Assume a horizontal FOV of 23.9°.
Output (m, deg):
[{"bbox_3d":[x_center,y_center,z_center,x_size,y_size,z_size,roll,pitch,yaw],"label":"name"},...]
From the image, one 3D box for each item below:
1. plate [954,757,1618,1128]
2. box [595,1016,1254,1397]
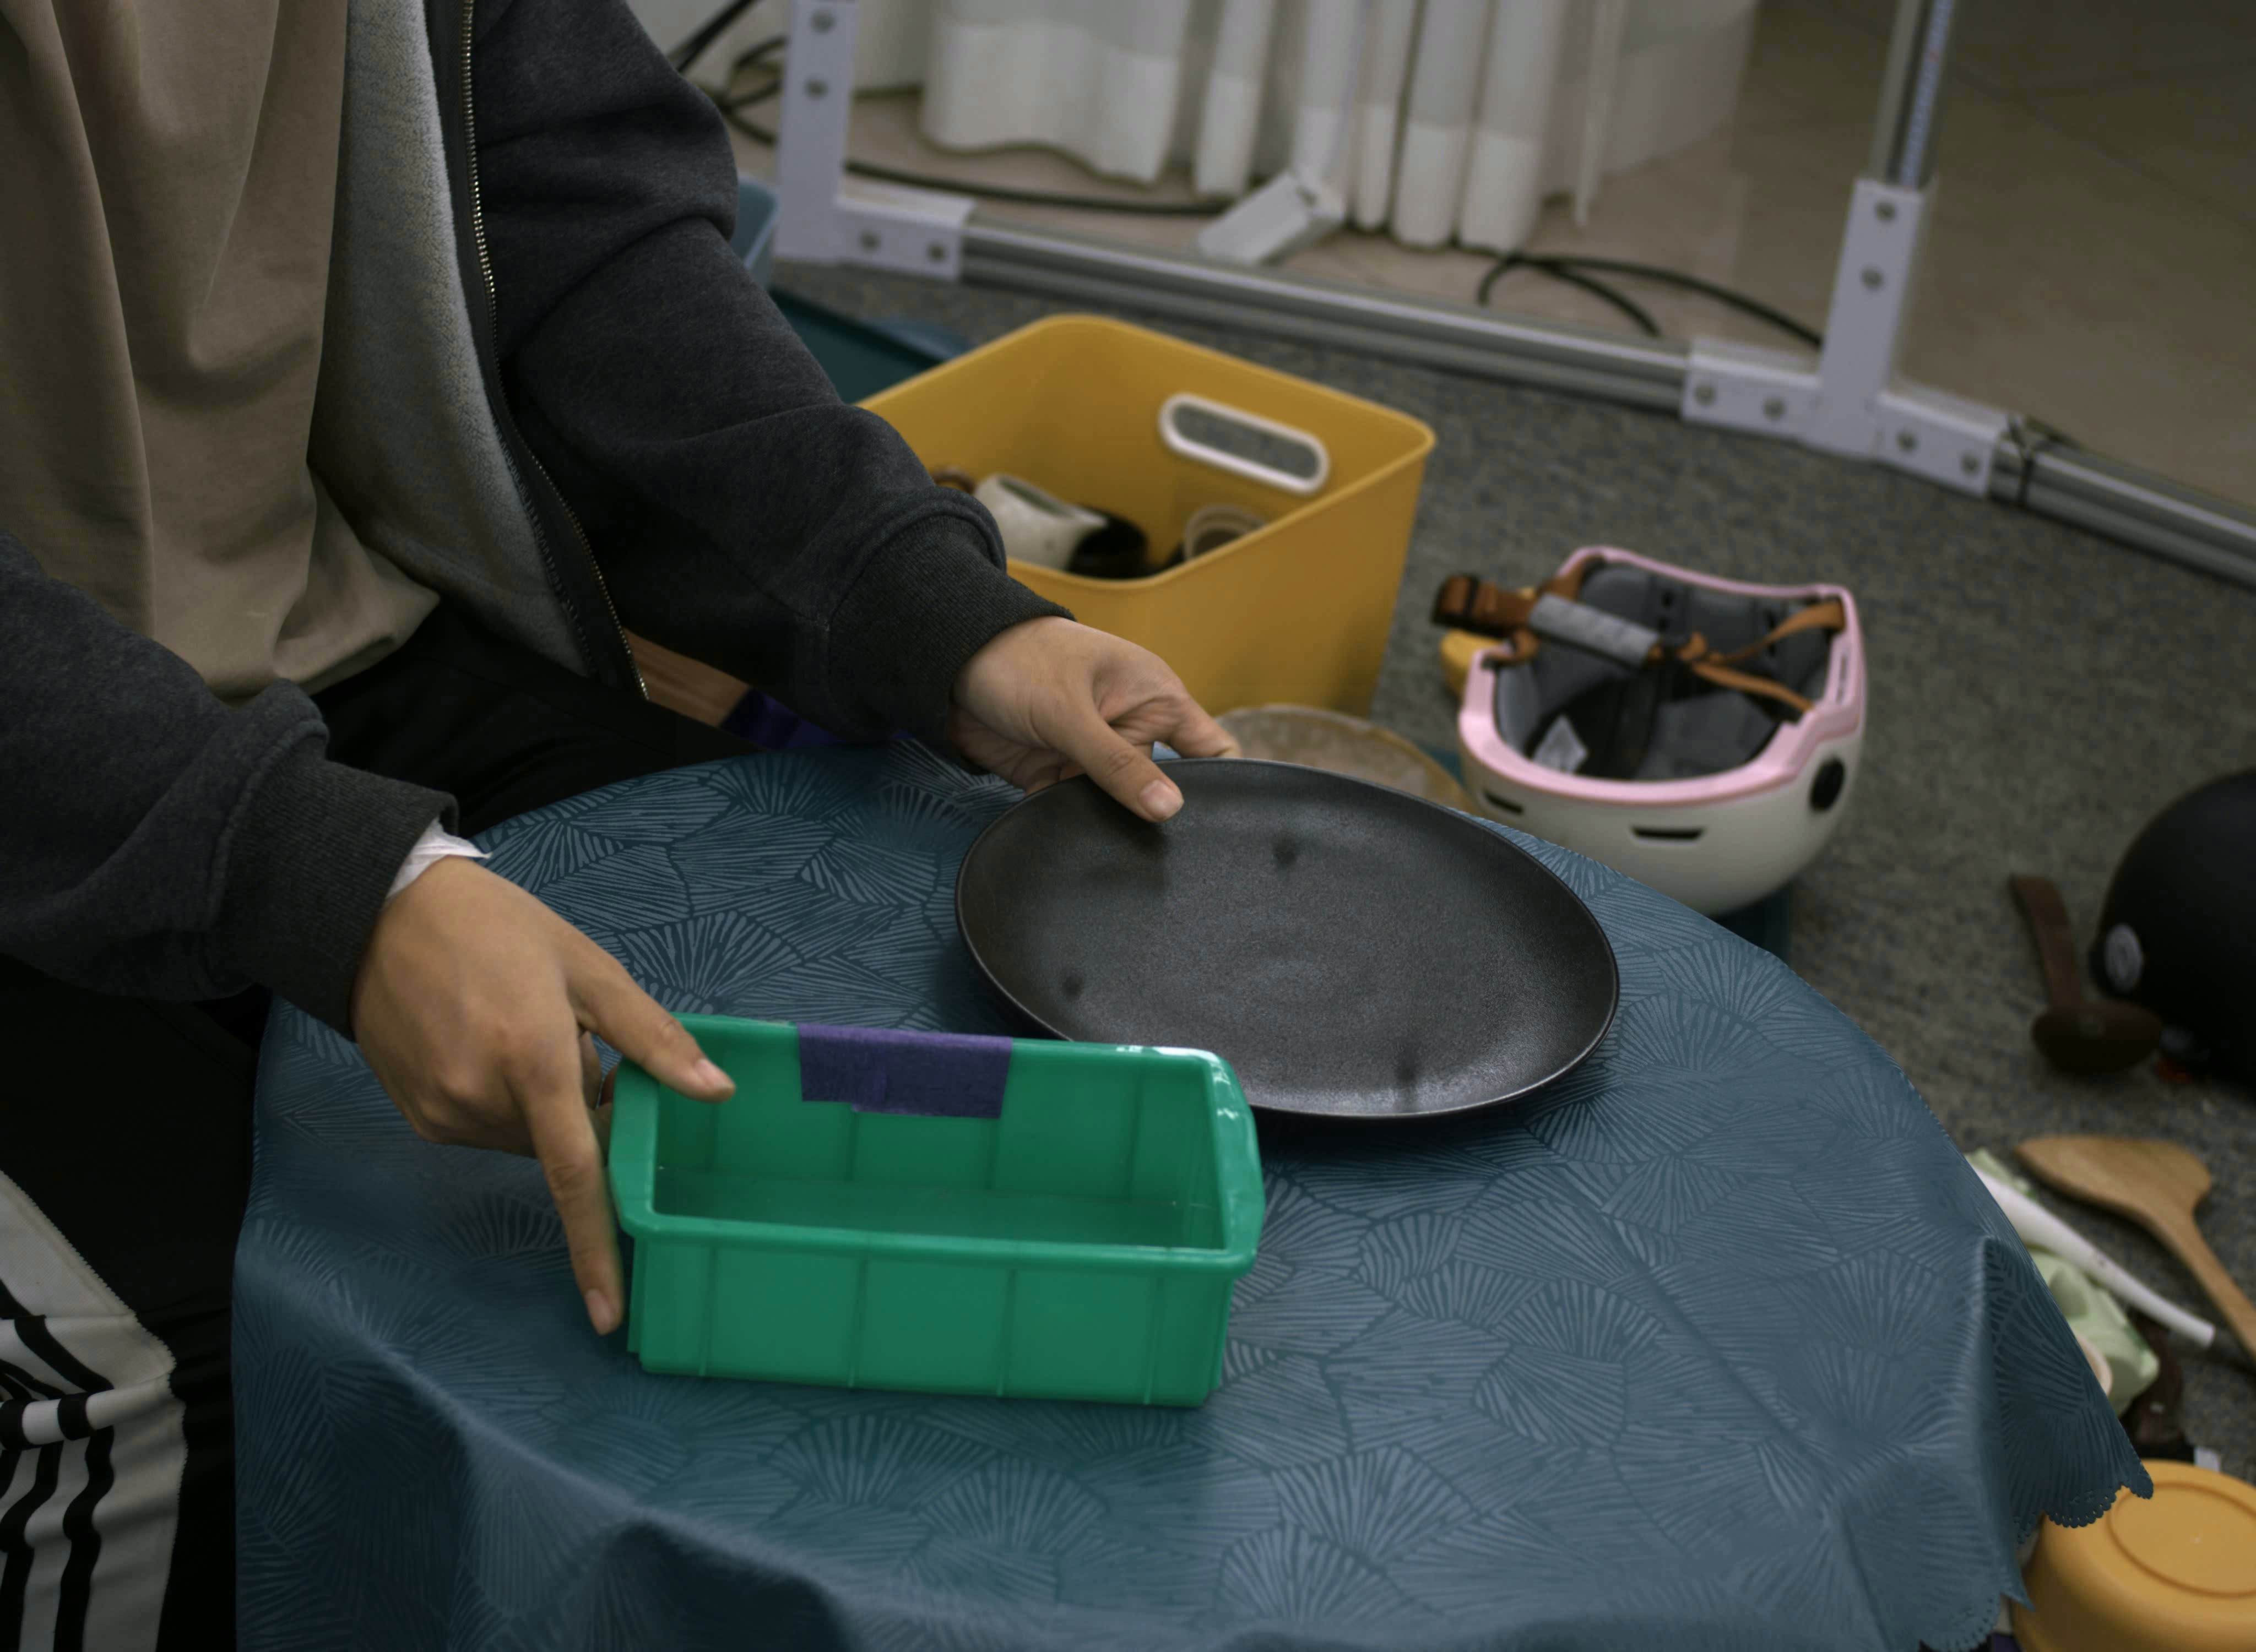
[{"bbox_3d":[0.056,0.046,1.928,0.243,0.023,0.246,6,31,-4],"label":"plate"},{"bbox_3d":[-0.067,0.124,1.715,0.209,0.065,0.139,2,25,-5],"label":"box"}]
